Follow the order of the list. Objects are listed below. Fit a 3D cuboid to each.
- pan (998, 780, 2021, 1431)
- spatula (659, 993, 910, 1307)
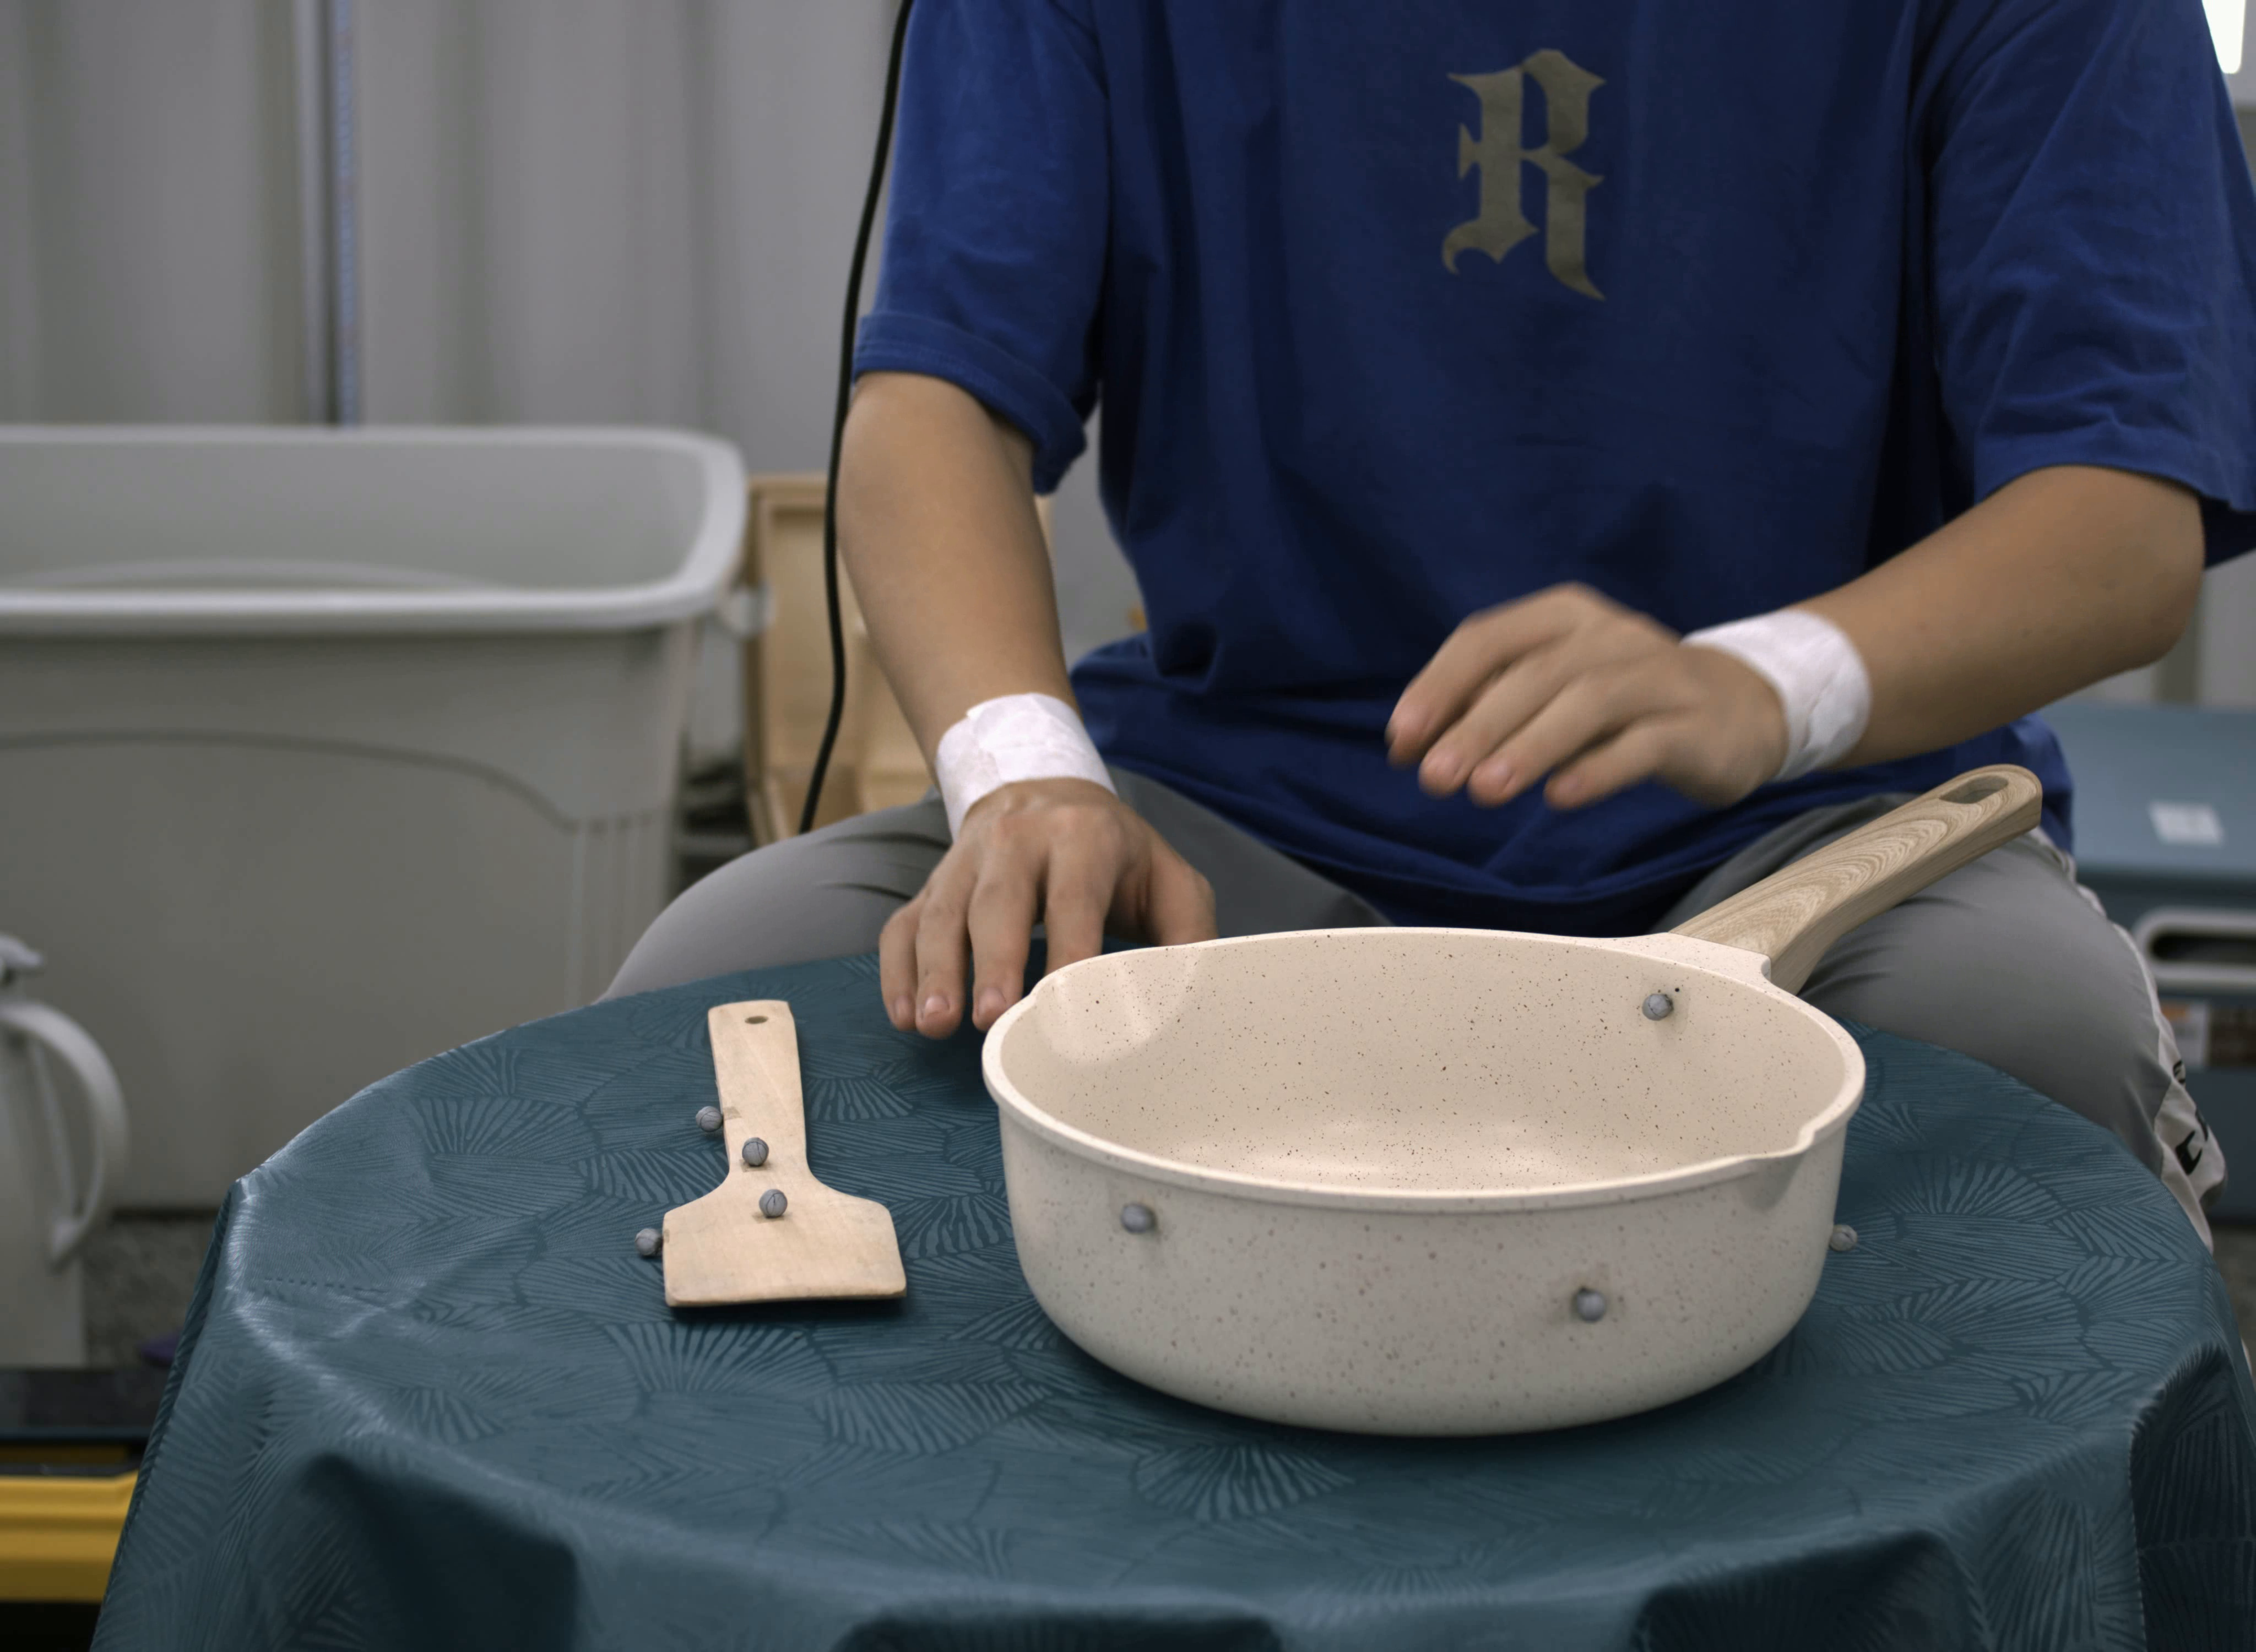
[{"bbox_3d":[0.147,0.077,1.569,0.260,0.103,0.437,11,18,38],"label":"pan"},{"bbox_3d":[-0.113,0.099,1.648,0.072,0.011,0.291,-2,16,-6],"label":"spatula"}]
